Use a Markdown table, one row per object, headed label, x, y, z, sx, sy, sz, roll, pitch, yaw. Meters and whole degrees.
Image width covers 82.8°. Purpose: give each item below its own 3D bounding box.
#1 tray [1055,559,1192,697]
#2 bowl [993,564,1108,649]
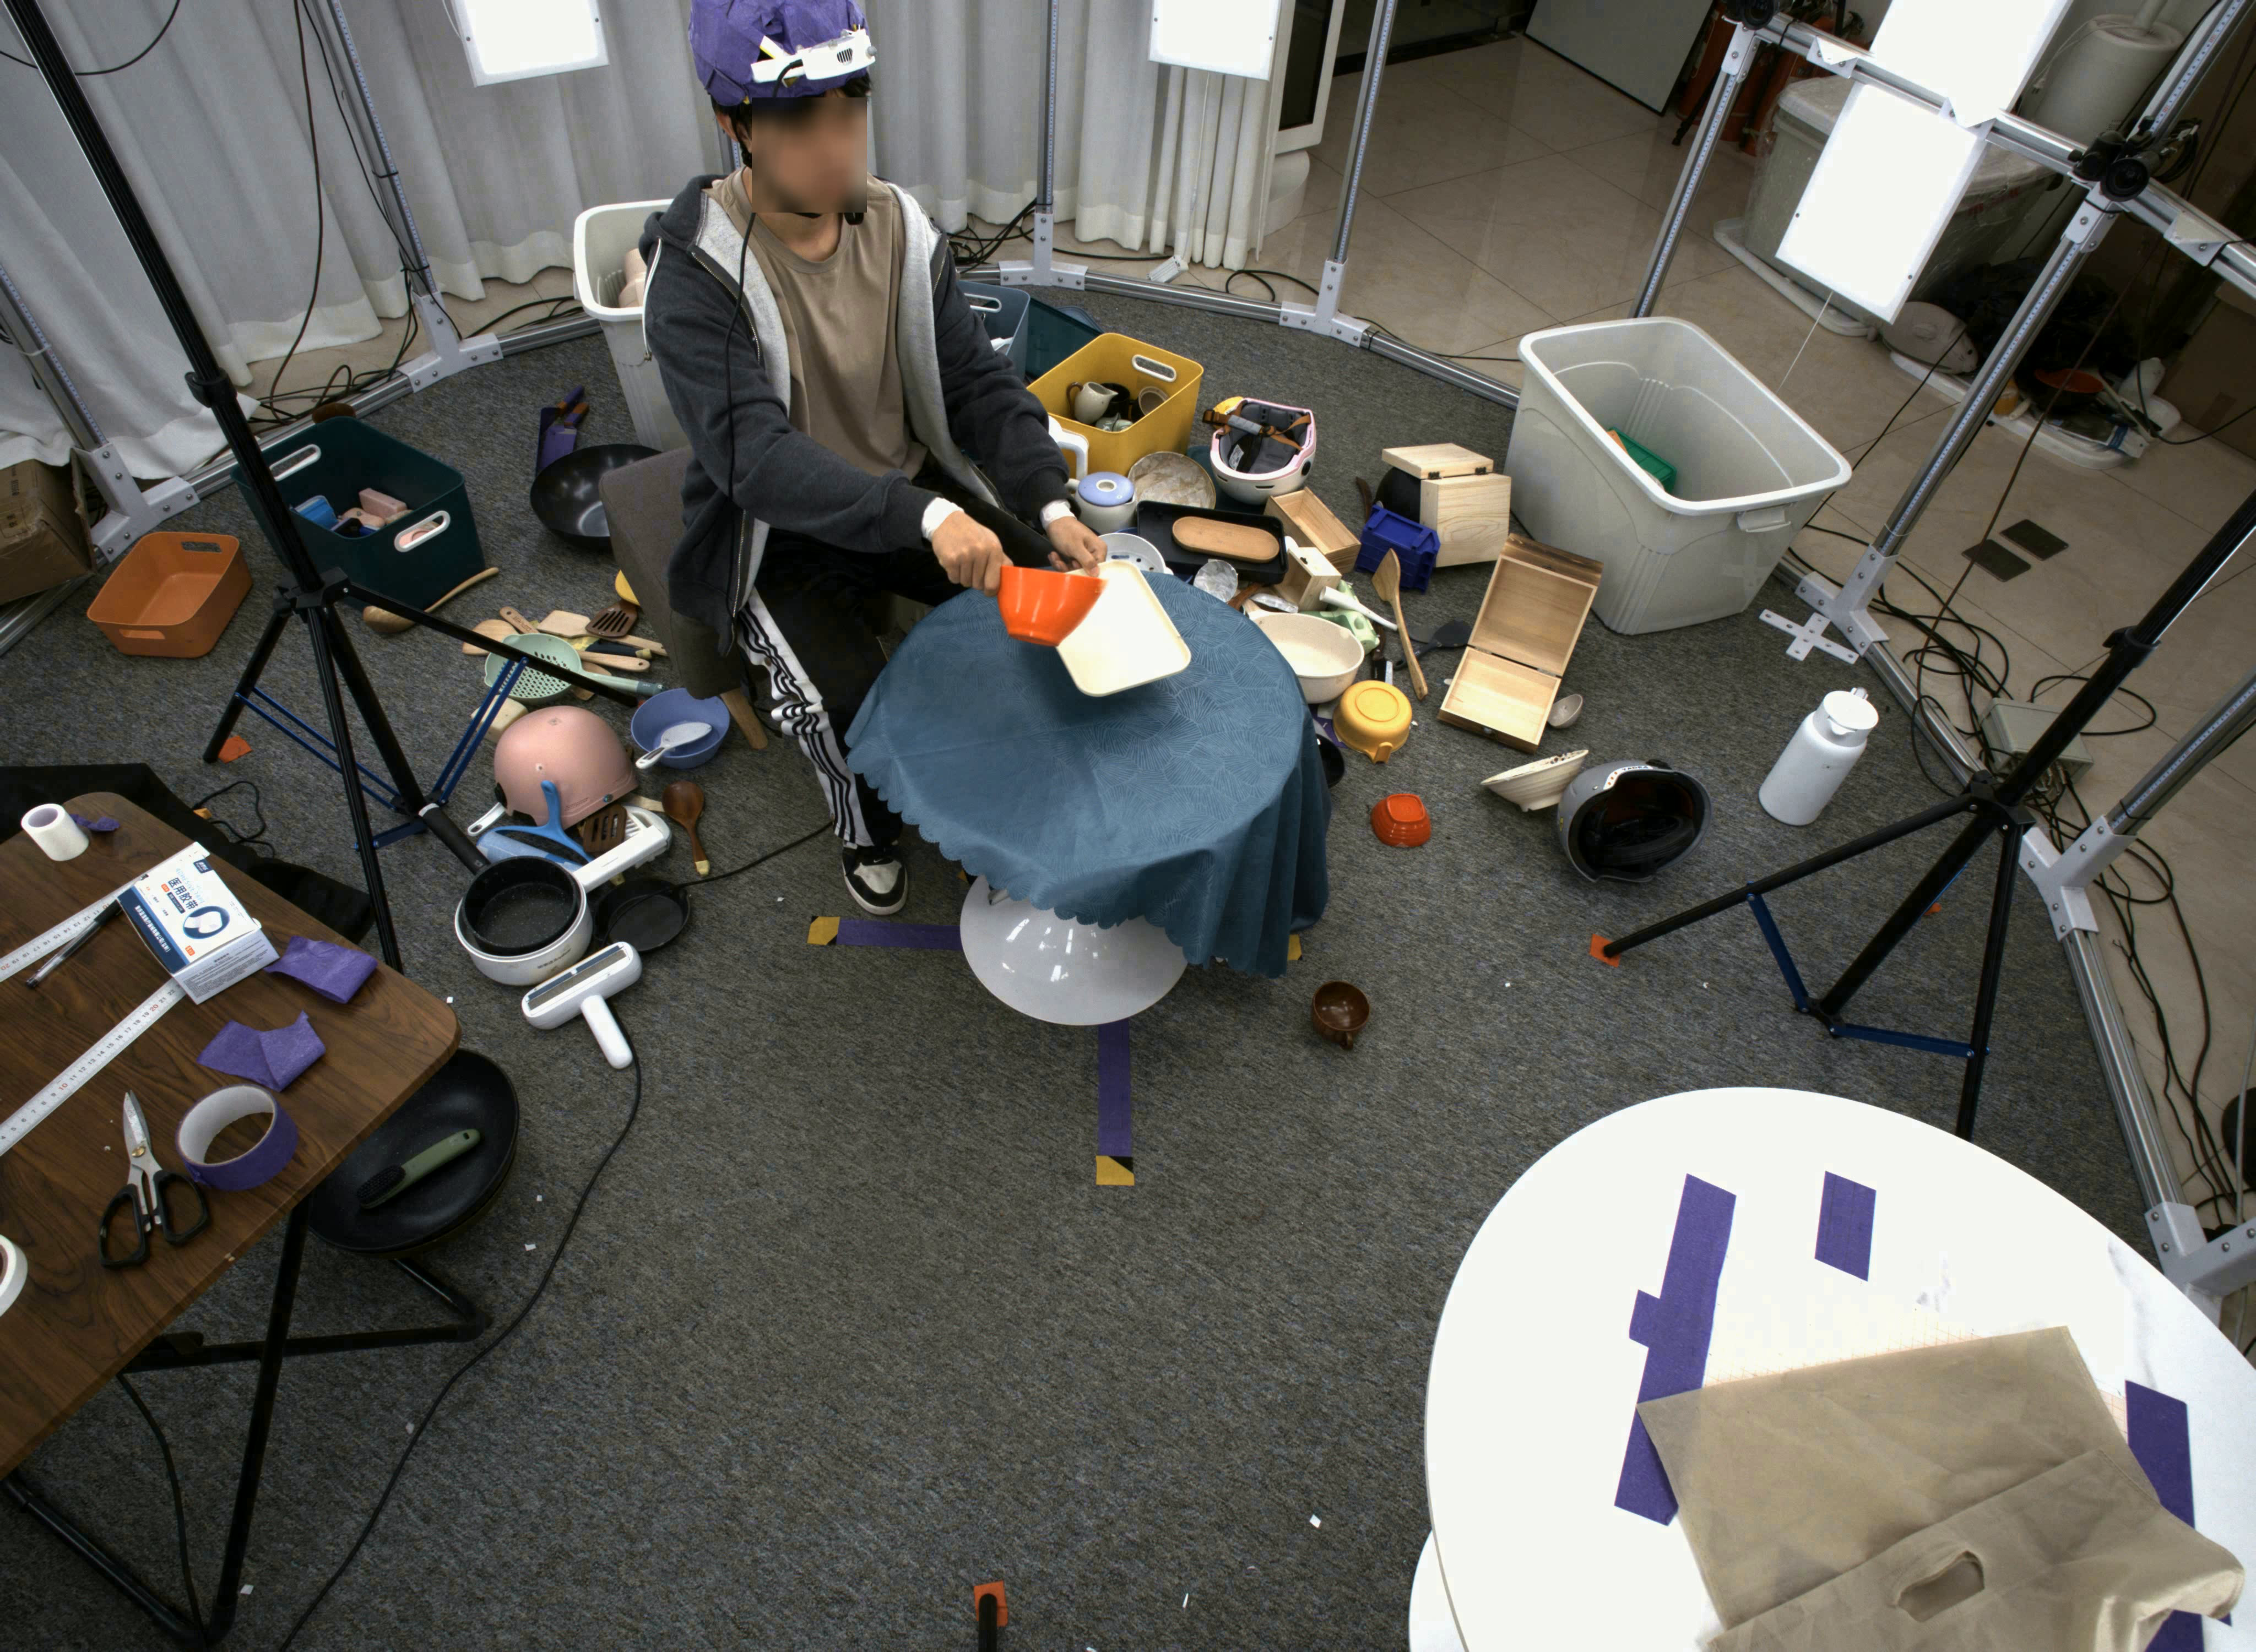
| label | x | y | z | sx | sy | sz | roll | pitch | yaw |
| --- | --- | --- | --- | --- | --- | --- | --- | --- | --- |
| tray | -0.027 | -0.281 | 1.816 | 0.171 | 0.017 | 0.245 | -18 | 54 | -14 |
| bowl | -0.107 | -0.283 | 1.647 | 0.148 | 0.147 | 0.105 | 13 | 90 | 7 |
